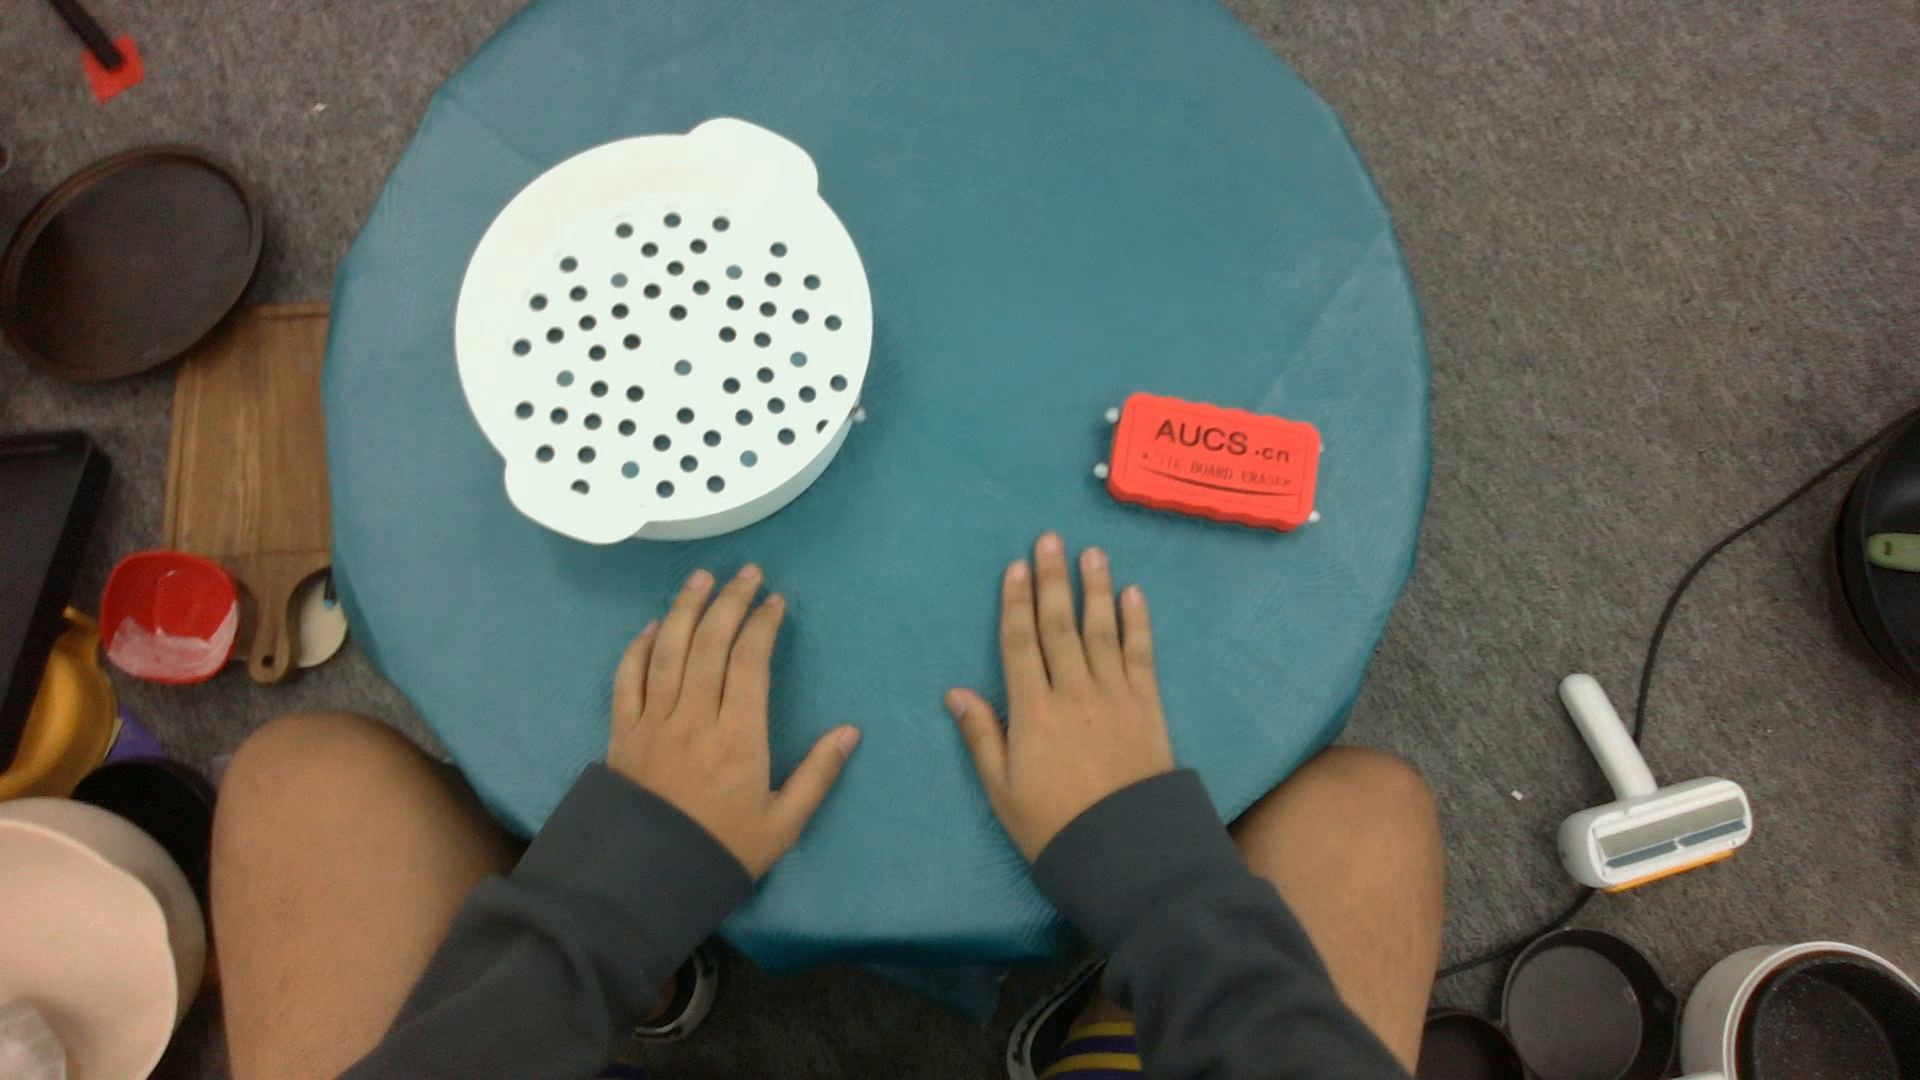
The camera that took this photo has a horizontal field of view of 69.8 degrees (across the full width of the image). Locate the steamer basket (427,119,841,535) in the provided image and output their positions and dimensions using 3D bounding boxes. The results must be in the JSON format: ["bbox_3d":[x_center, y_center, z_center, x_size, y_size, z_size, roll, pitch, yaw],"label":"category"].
[{"bbox_3d":[-0.163,-0.104,0.711,0.202,0.069,0.231,22,74,0],"label":"steamer basket"}]

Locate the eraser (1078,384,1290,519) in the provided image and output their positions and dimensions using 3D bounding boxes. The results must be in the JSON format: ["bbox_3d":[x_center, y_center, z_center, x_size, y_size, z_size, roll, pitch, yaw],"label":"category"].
[{"bbox_3d":[0.120,-0.047,0.739,0.108,0.023,0.059,9,81,-4],"label":"eraser"}]
